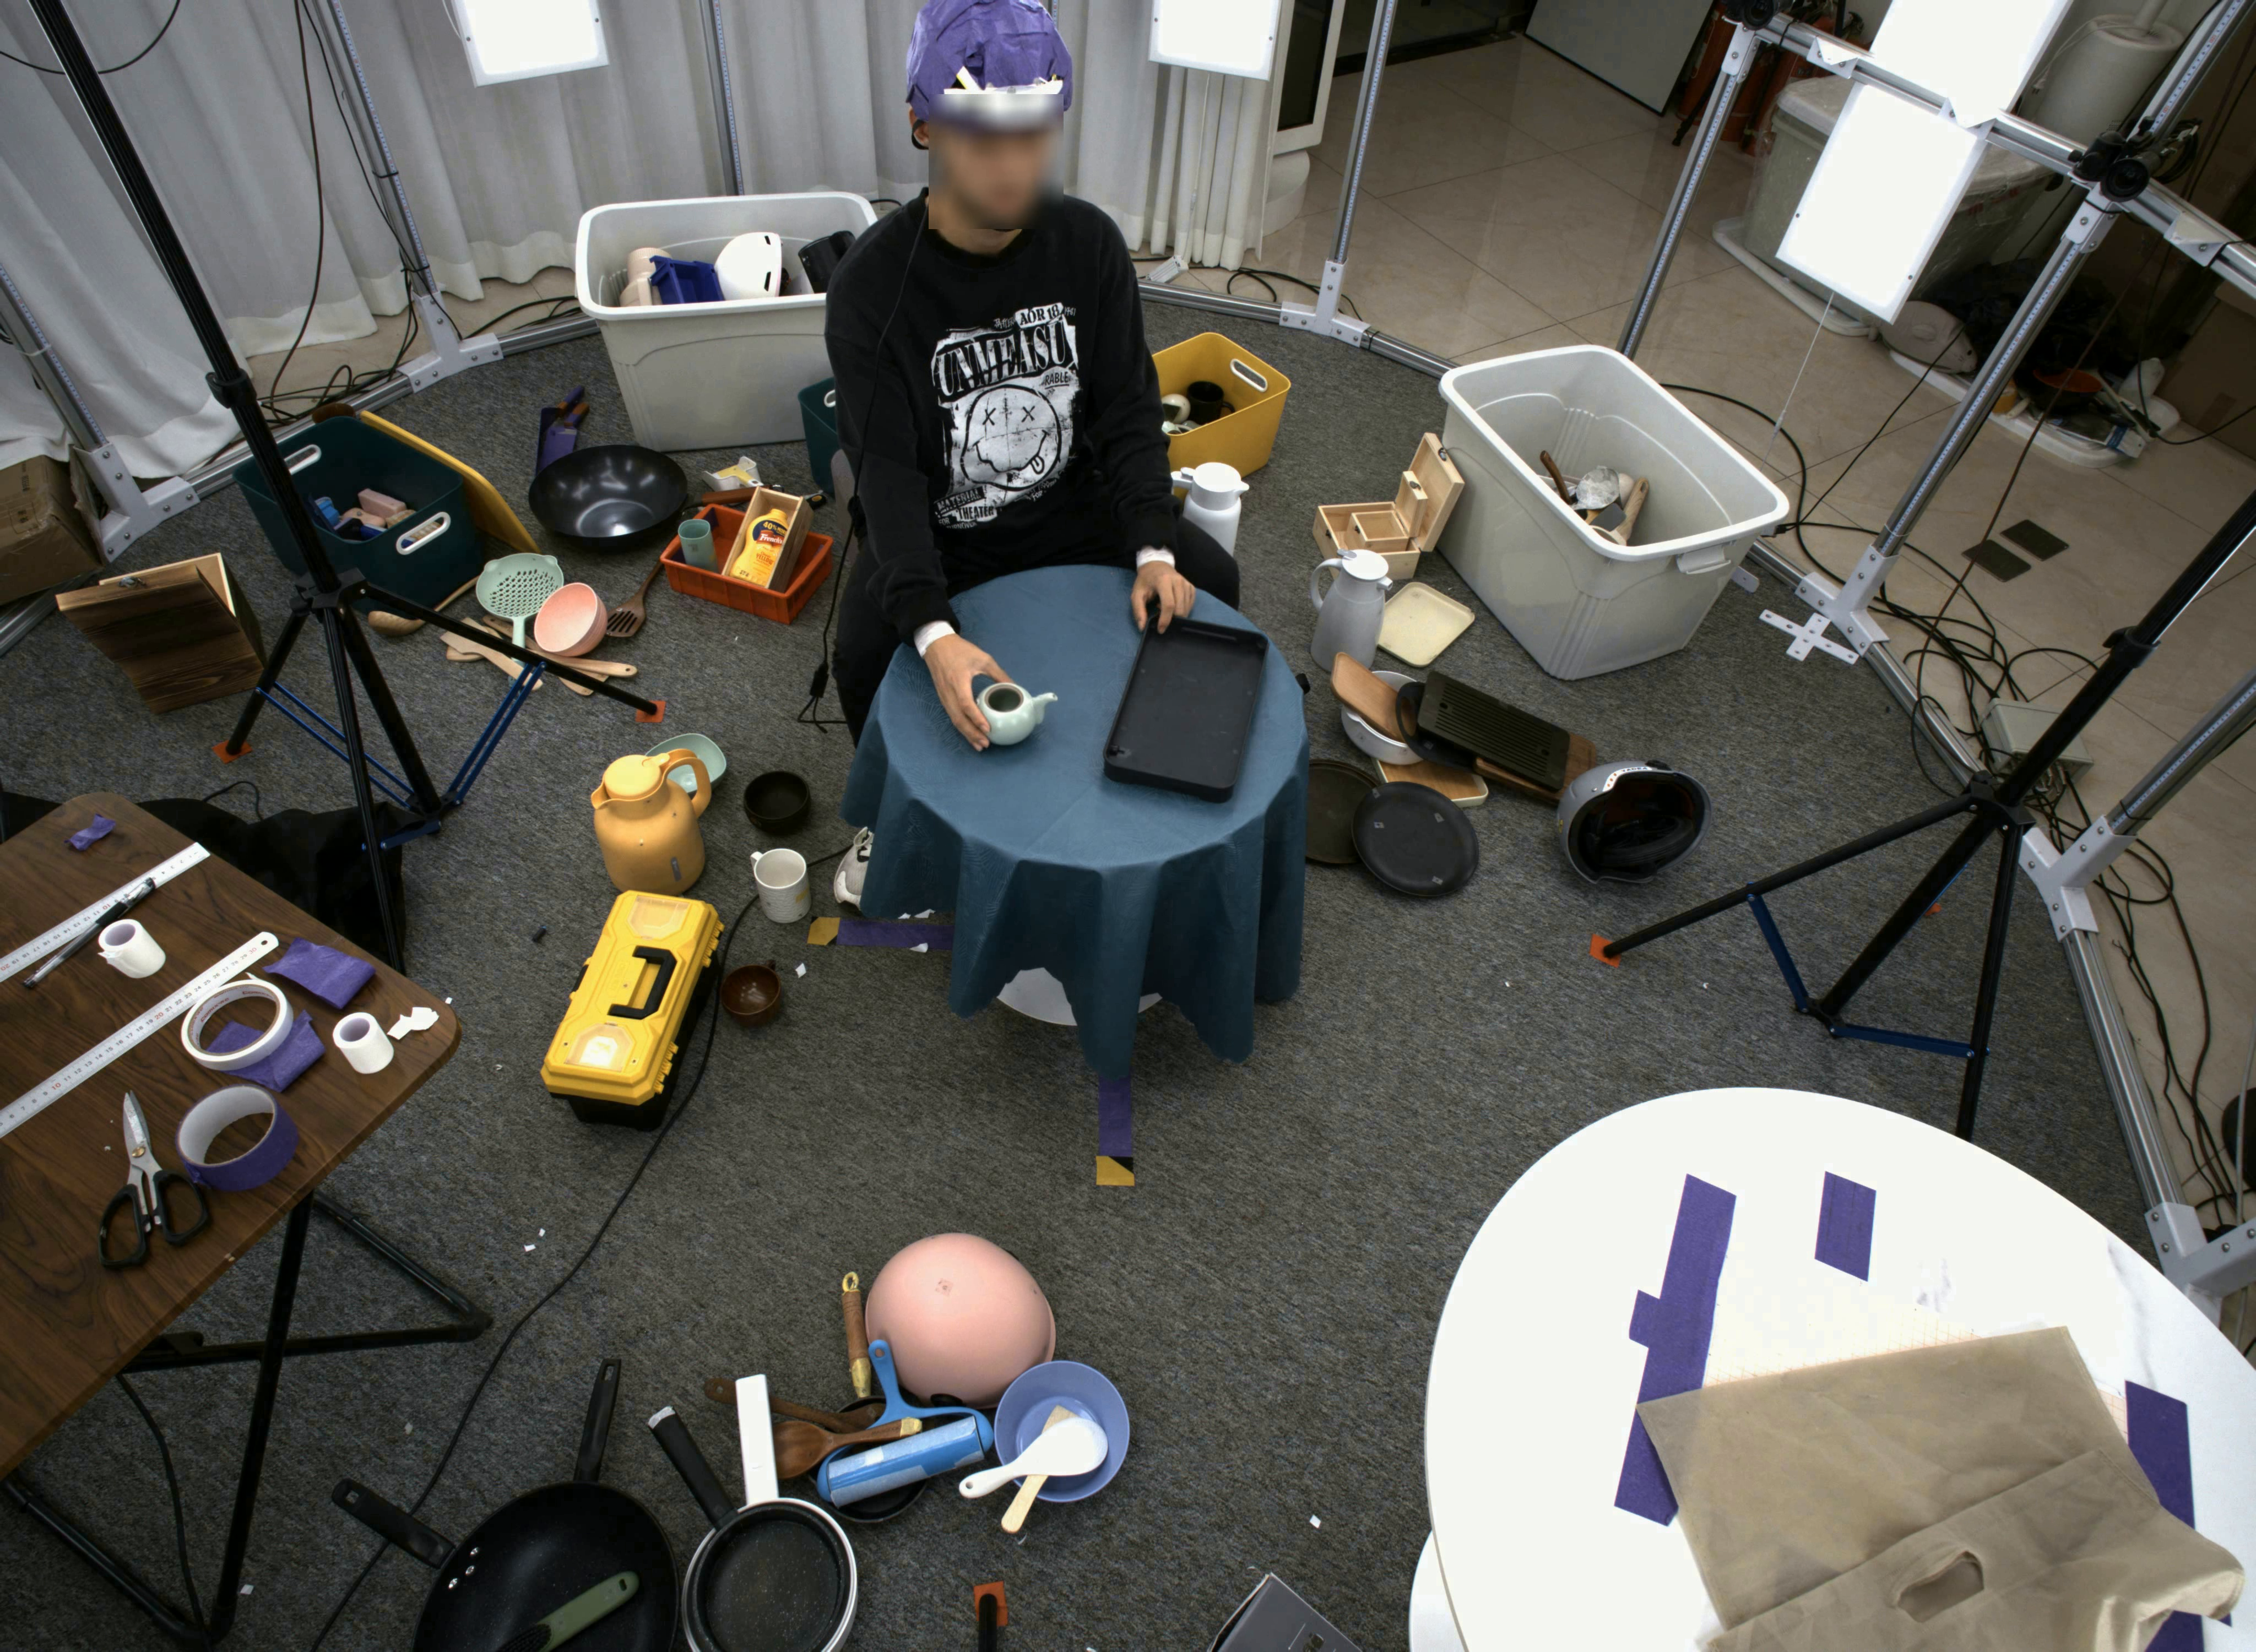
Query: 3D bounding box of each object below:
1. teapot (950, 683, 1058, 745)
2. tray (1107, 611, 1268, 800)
[{"bbox_3d":[-0.168,-0.153,1.745,0.143,0.073,0.090,1,49,-5],"label":"teapot"},{"bbox_3d":[0.088,-0.176,1.804,0.184,0.036,0.325,10,50,6],"label":"tray"}]
